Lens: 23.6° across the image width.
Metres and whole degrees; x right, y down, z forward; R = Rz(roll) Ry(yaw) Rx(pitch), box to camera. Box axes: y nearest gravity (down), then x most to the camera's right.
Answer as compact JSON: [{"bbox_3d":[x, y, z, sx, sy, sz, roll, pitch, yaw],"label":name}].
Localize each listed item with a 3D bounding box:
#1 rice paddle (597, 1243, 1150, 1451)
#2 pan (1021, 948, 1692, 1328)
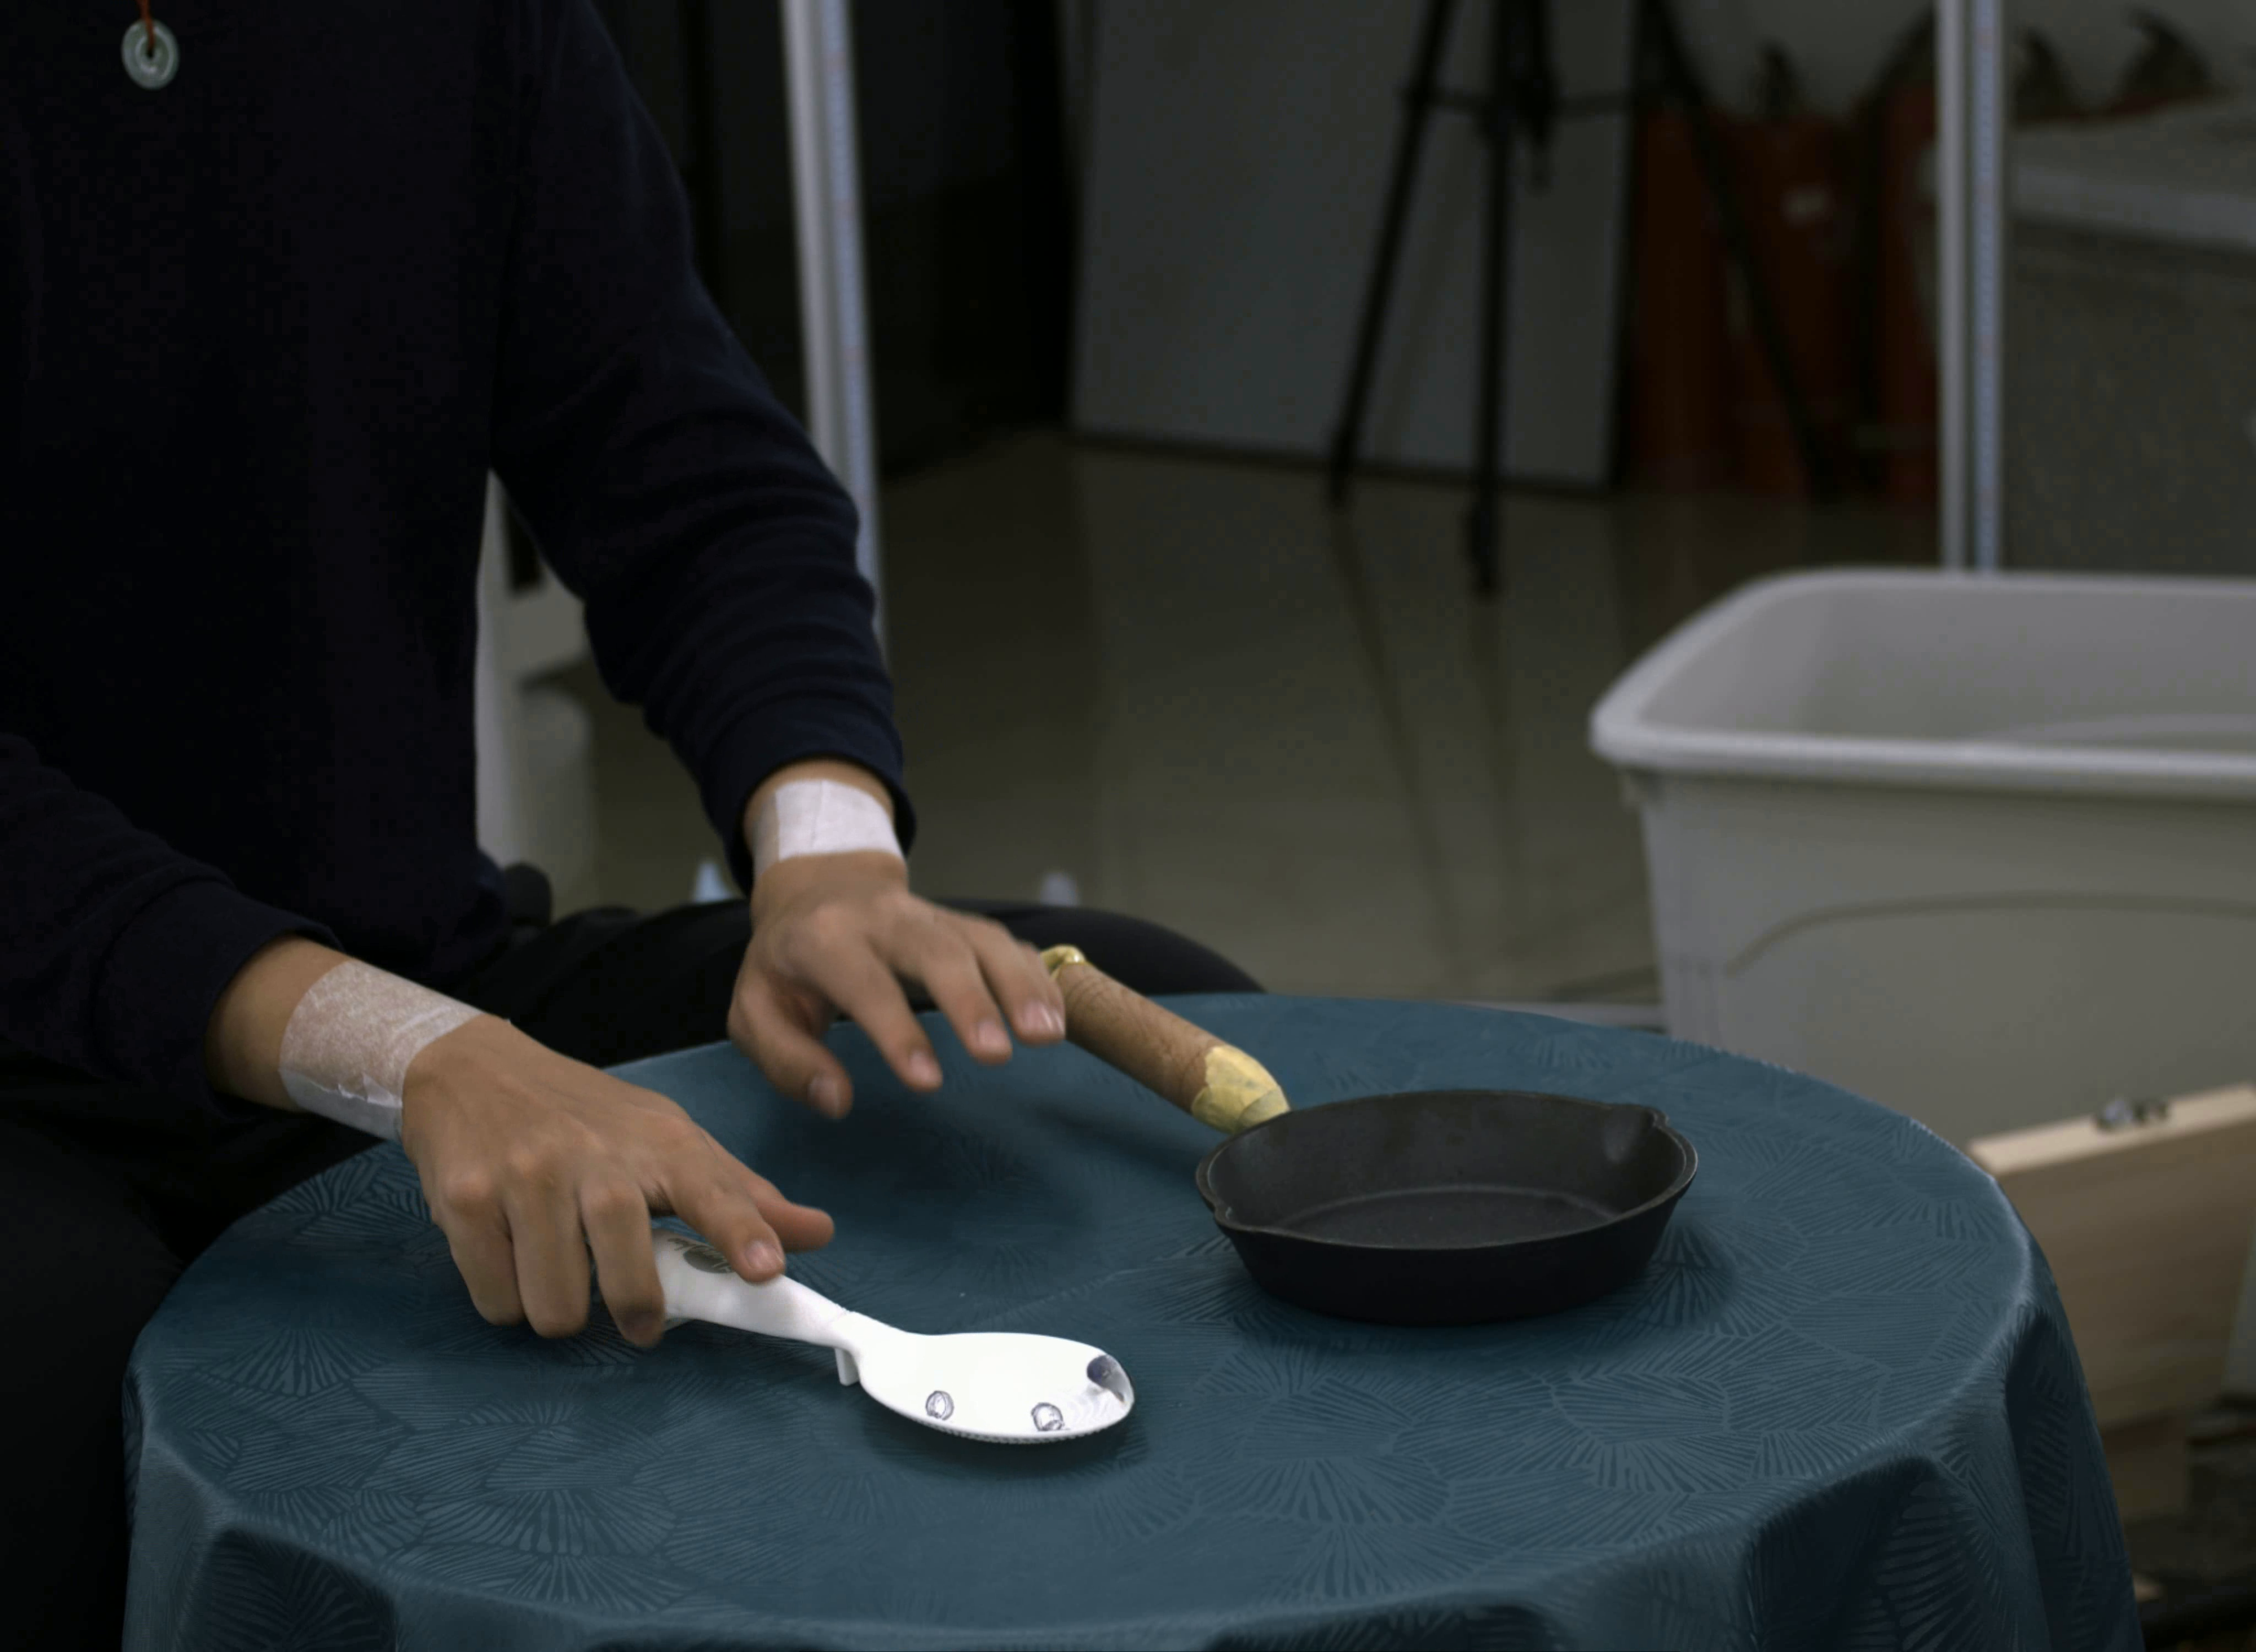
[{"bbox_3d":[-0.076,0.157,1.602,0.207,0.030,0.067,10,10,41],"label":"rice paddle"},{"bbox_3d":[0.055,0.097,1.747,0.165,0.050,0.328,-12,17,-29],"label":"pan"}]
